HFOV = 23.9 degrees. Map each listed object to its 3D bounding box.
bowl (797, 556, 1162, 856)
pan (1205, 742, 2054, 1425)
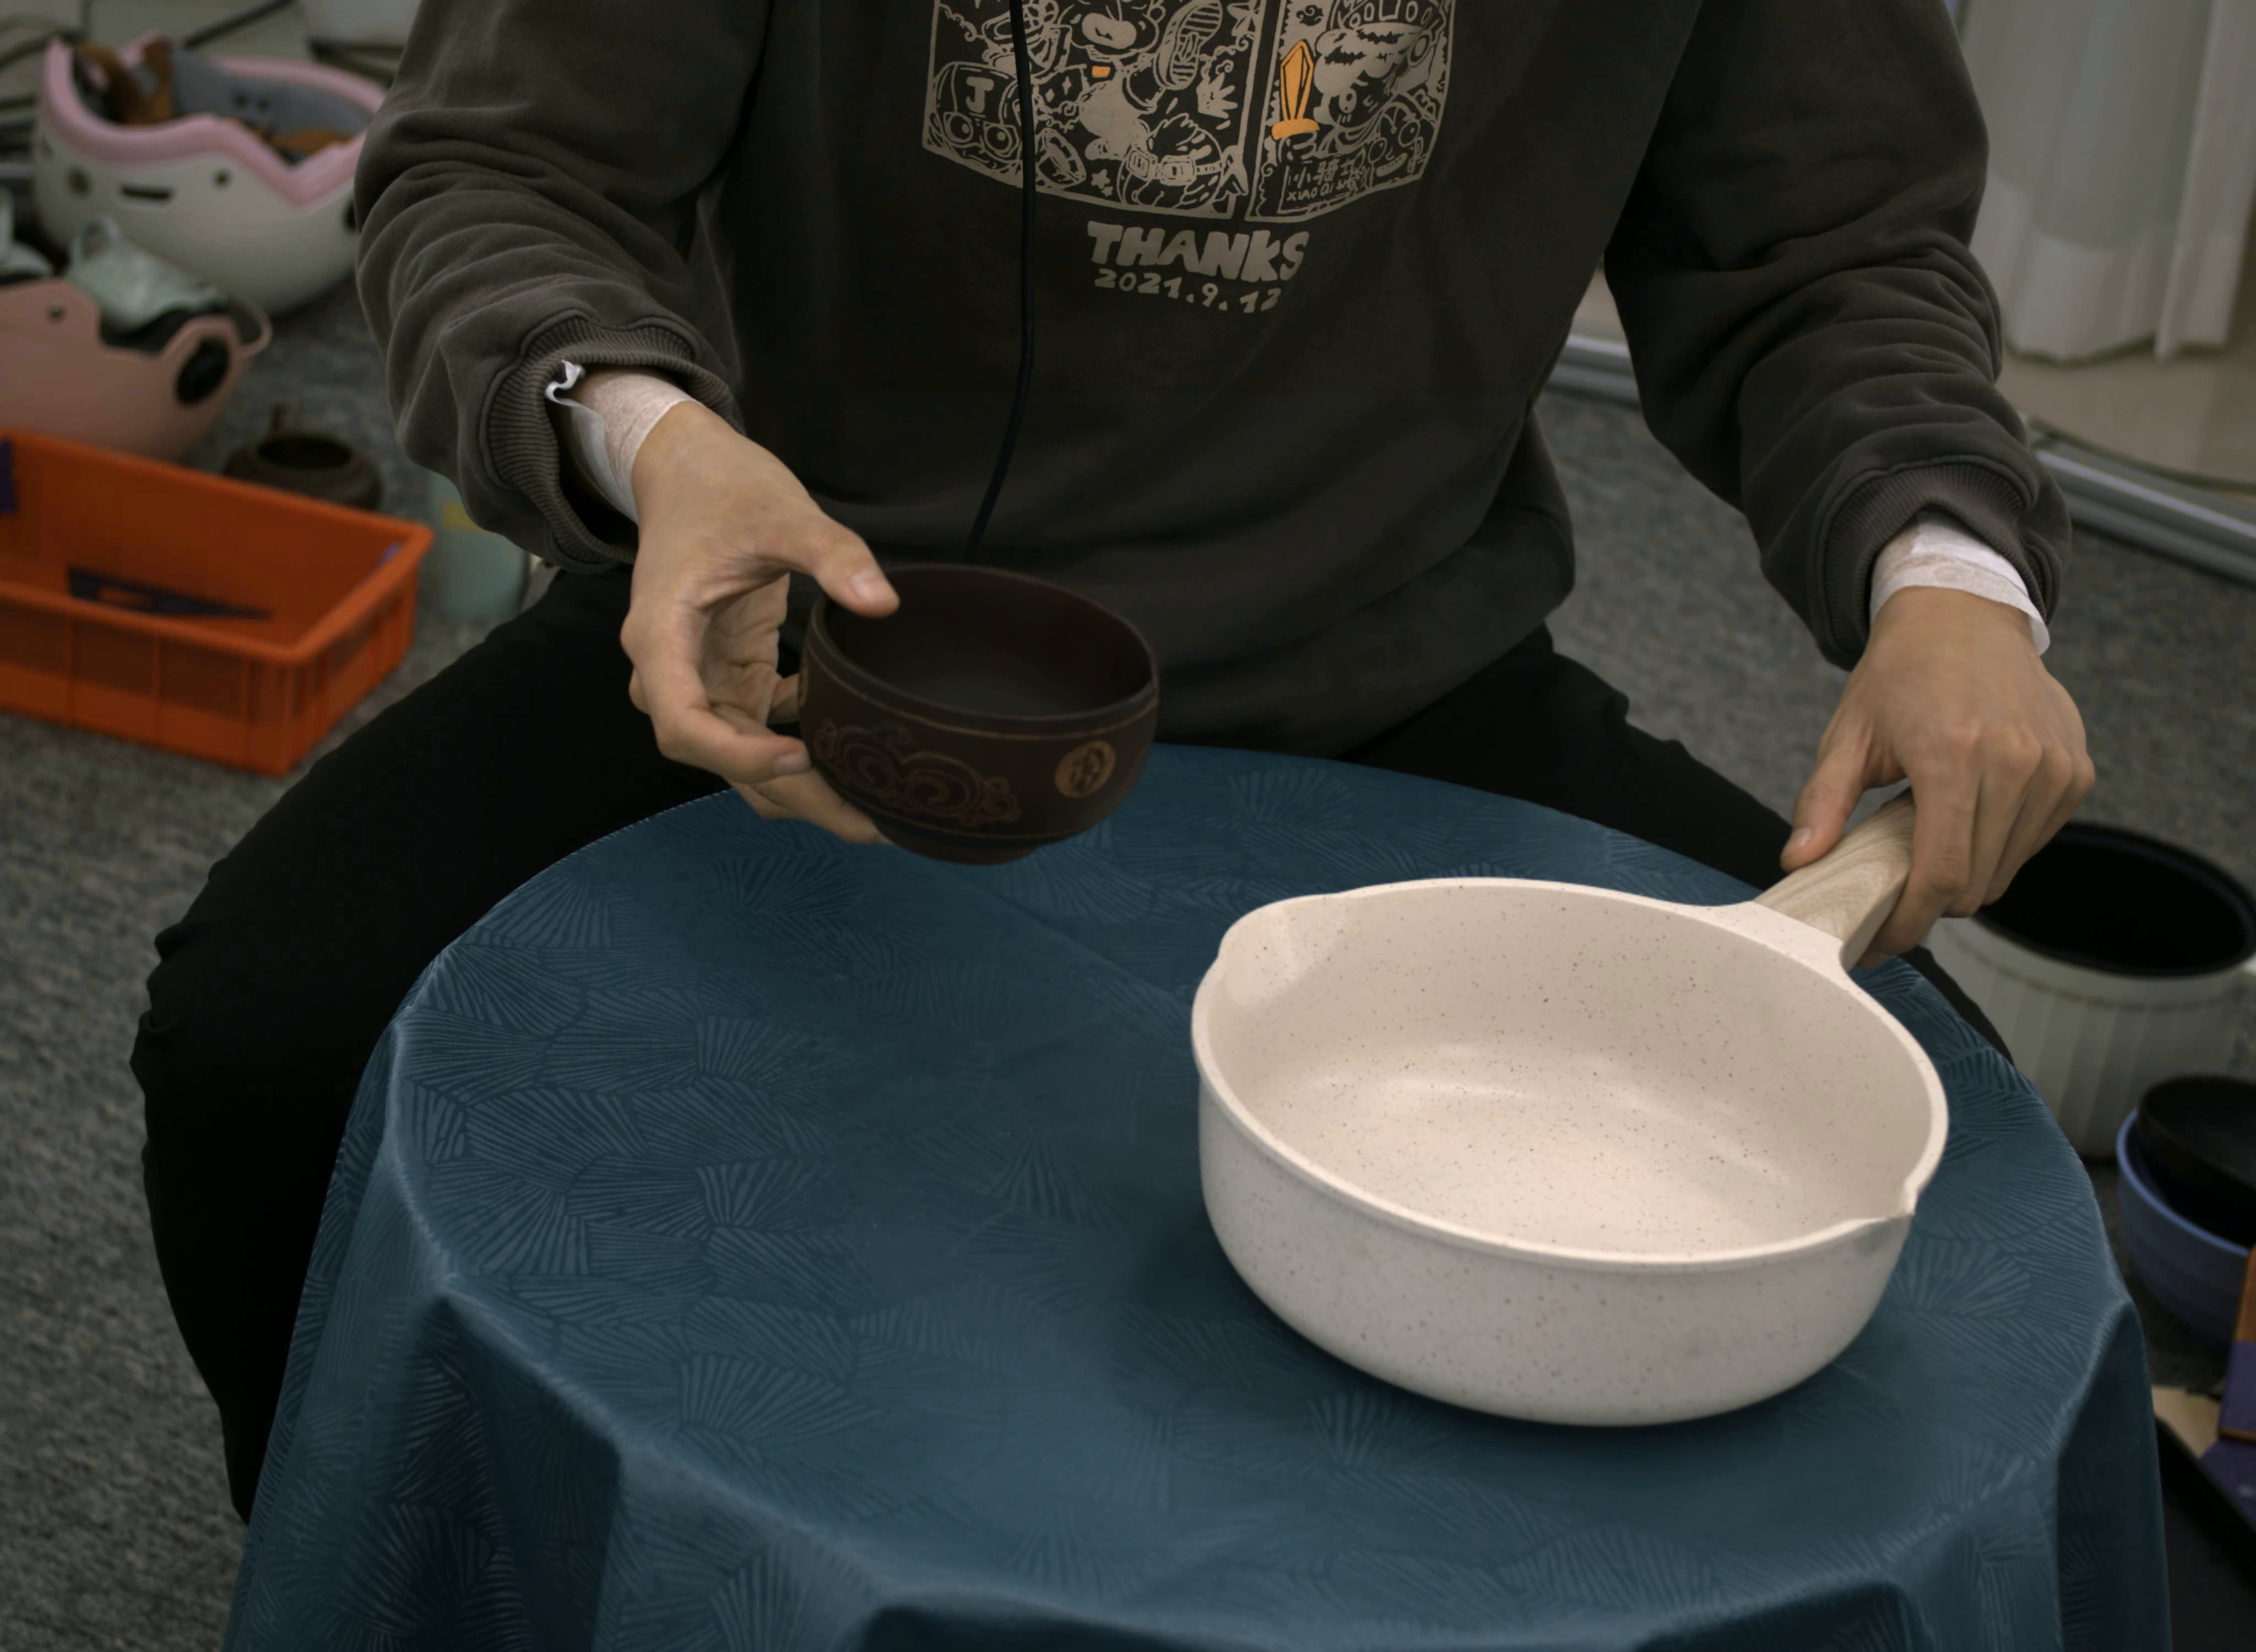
[{"bbox_3d":[-0.050,-0.033,1.723,0.117,0.069,0.118,7,24,-3],"label":"bowl"},{"bbox_3d":[0.202,0.079,1.829,0.265,0.101,0.433,22,30,32],"label":"pan"}]
